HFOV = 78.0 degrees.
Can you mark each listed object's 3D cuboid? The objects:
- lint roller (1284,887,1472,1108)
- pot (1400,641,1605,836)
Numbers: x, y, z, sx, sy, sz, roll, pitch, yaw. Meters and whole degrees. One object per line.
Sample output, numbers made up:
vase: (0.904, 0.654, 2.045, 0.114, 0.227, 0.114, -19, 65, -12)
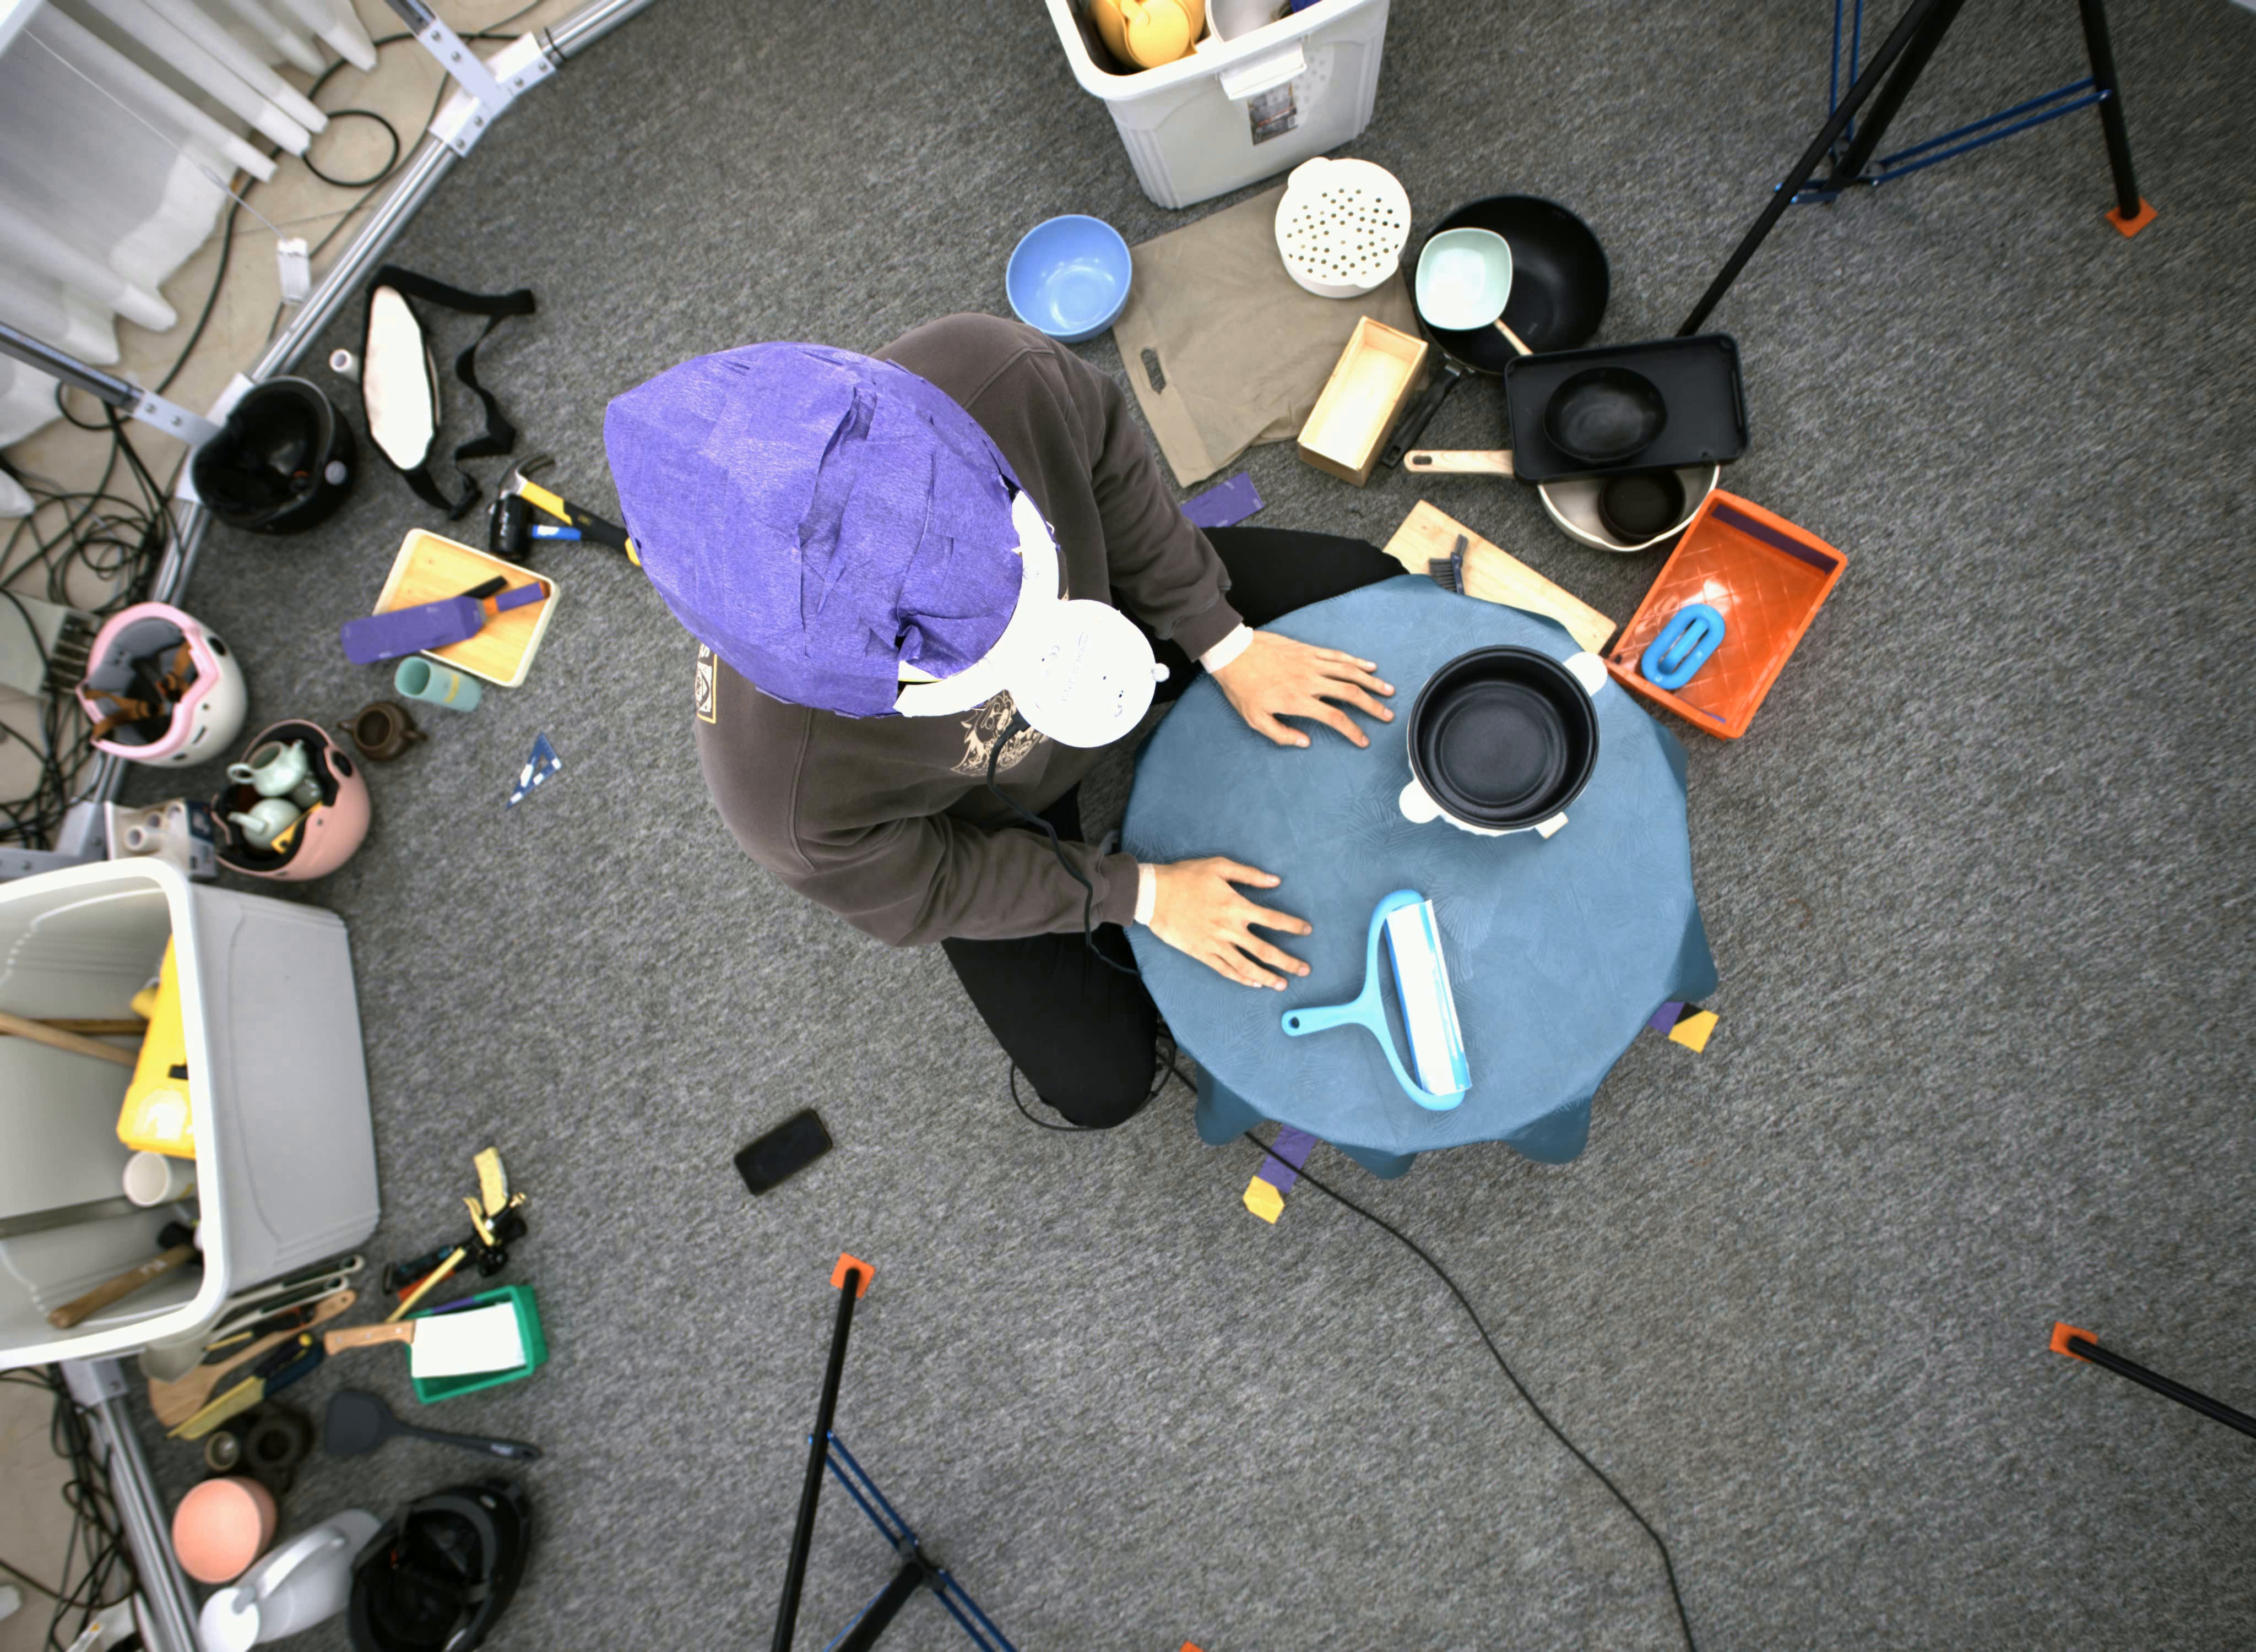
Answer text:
lint roller: (0.249, 0.188, 1.427, 0.181, 0.068, 0.228, -14, 86, 8)
pot: (0.374, -0.079, 1.375, 0.242, 0.143, 0.189, -40, 78, 7)
